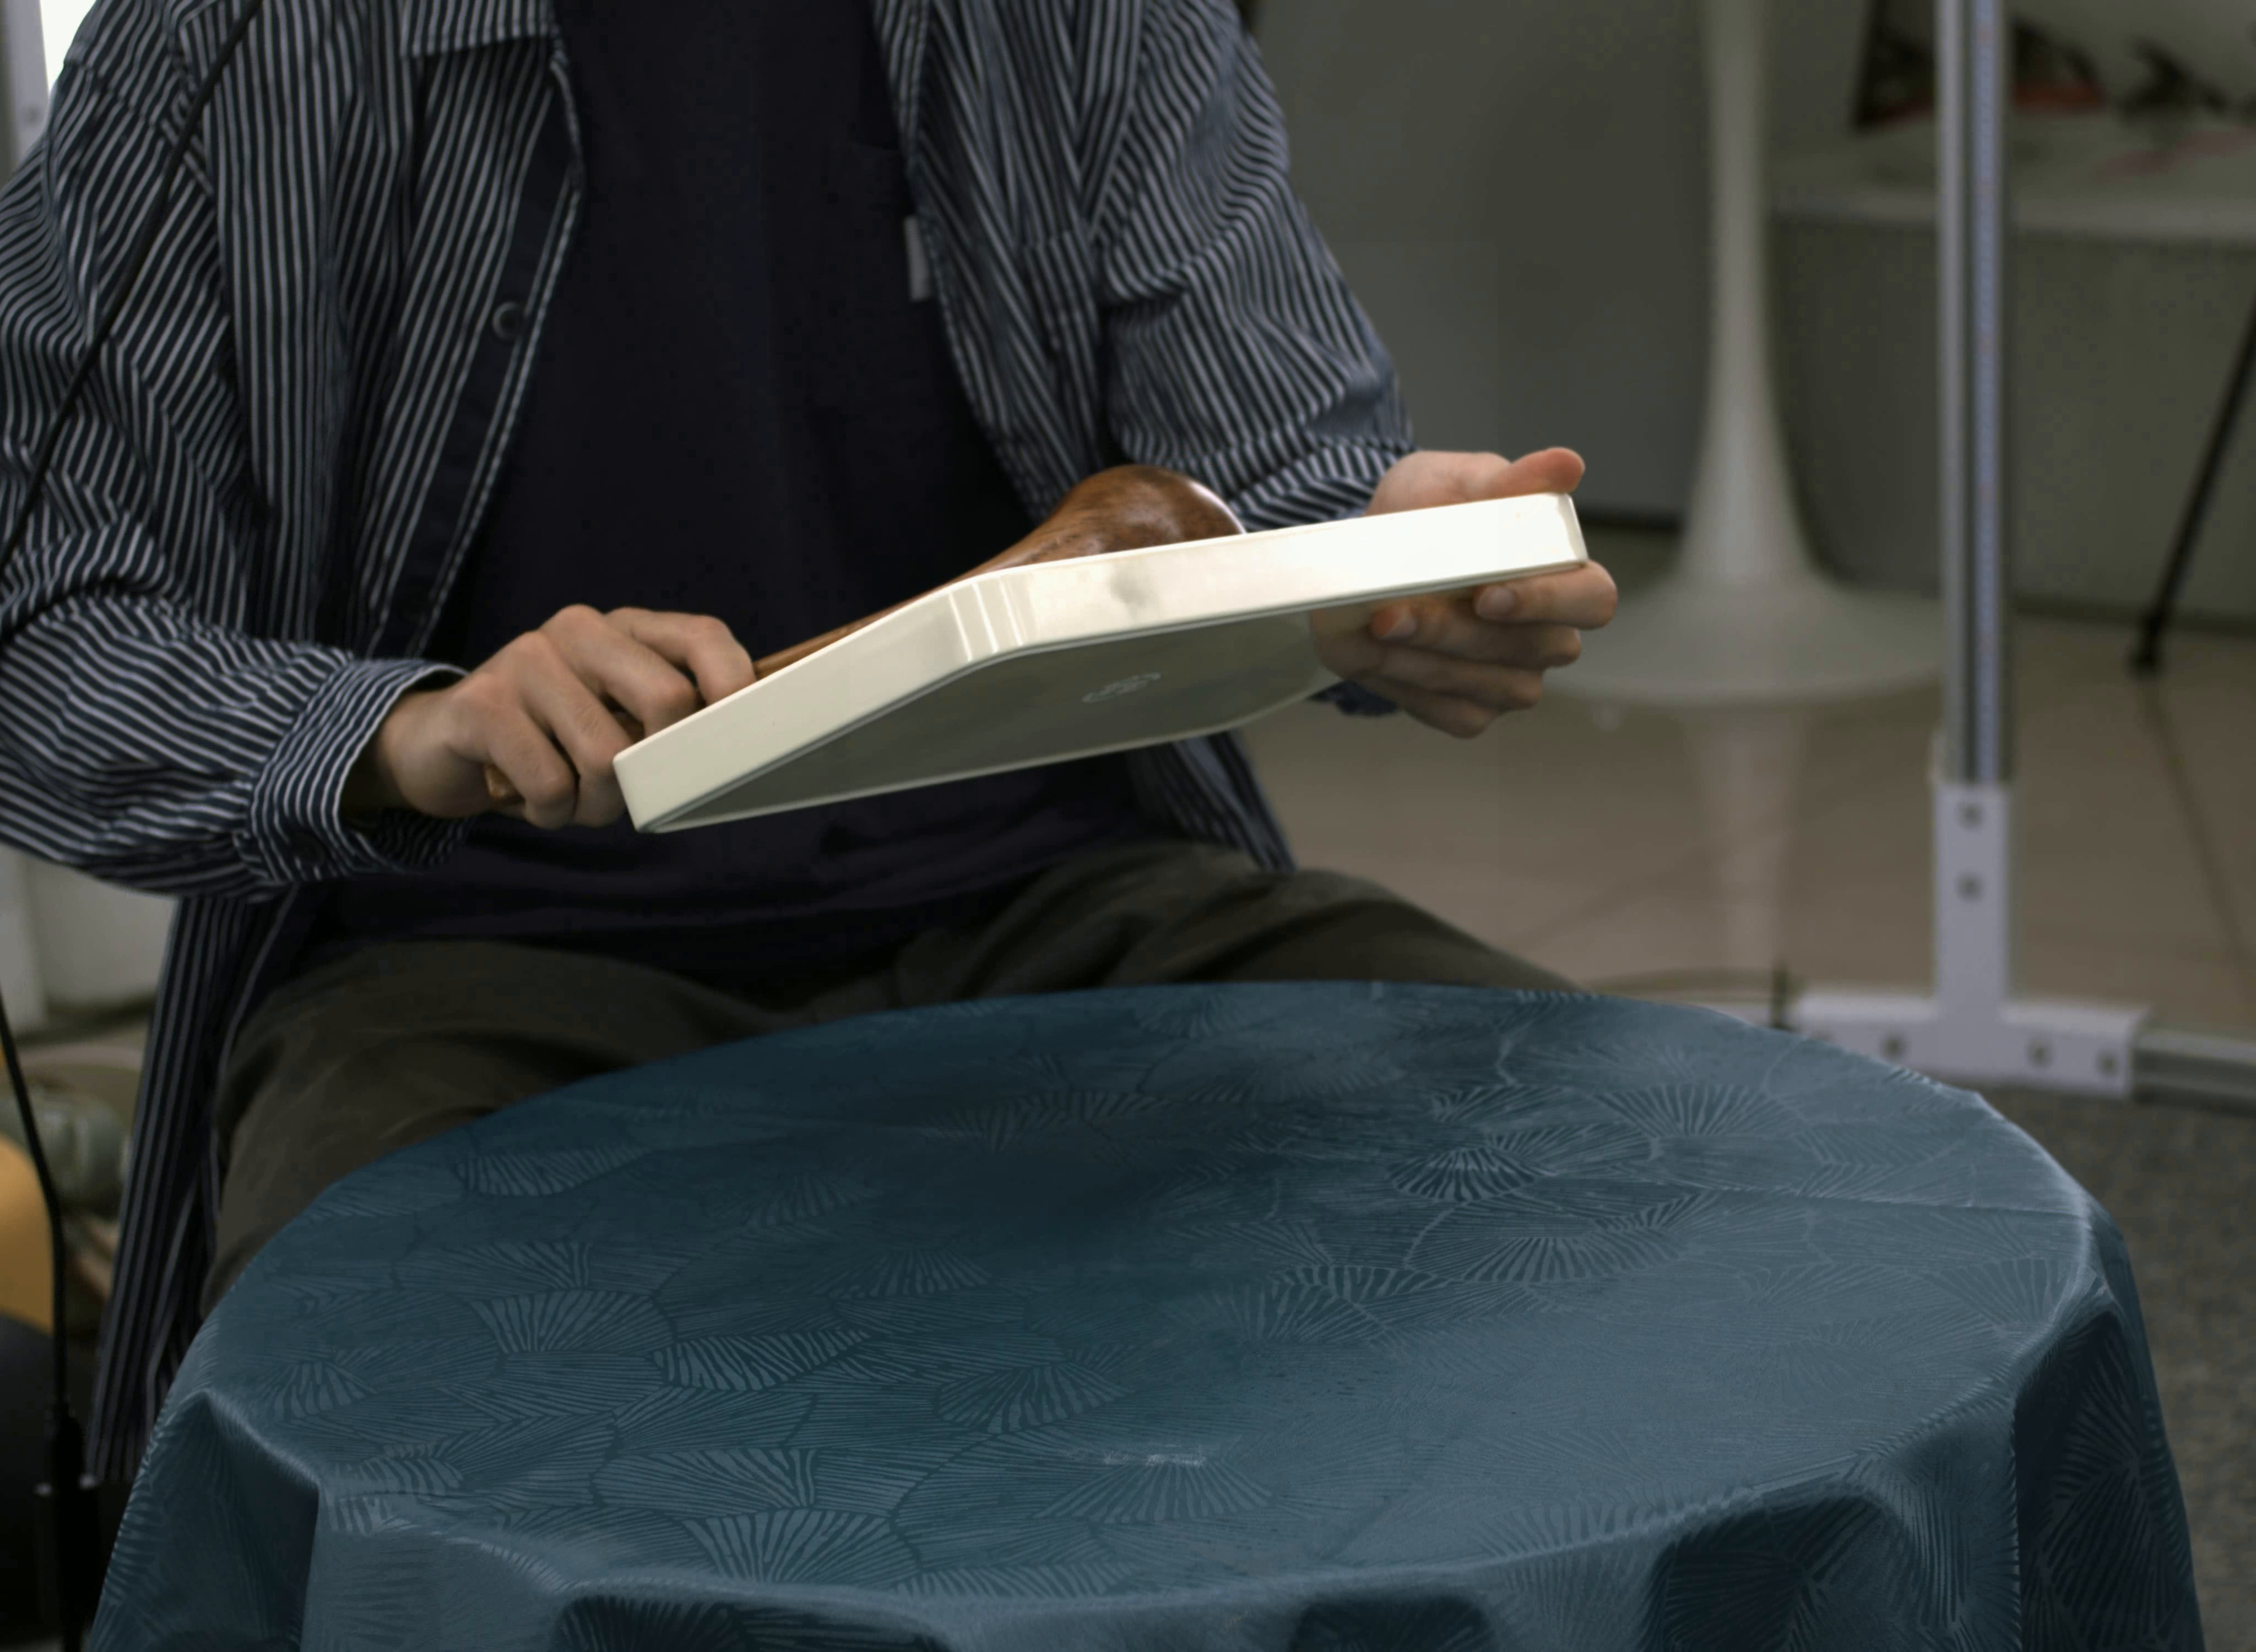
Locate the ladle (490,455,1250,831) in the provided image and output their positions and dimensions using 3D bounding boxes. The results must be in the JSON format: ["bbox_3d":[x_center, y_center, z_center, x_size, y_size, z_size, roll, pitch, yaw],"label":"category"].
[{"bbox_3d":[-0.084,-0.051,1.850,0.273,0.083,0.076,-23,-28,15],"label":"ladle"}]

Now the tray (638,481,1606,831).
[{"bbox_3d":[0.002,-0.056,1.766,0.294,0.028,0.193,-10,-11,-45],"label":"tray"}]
